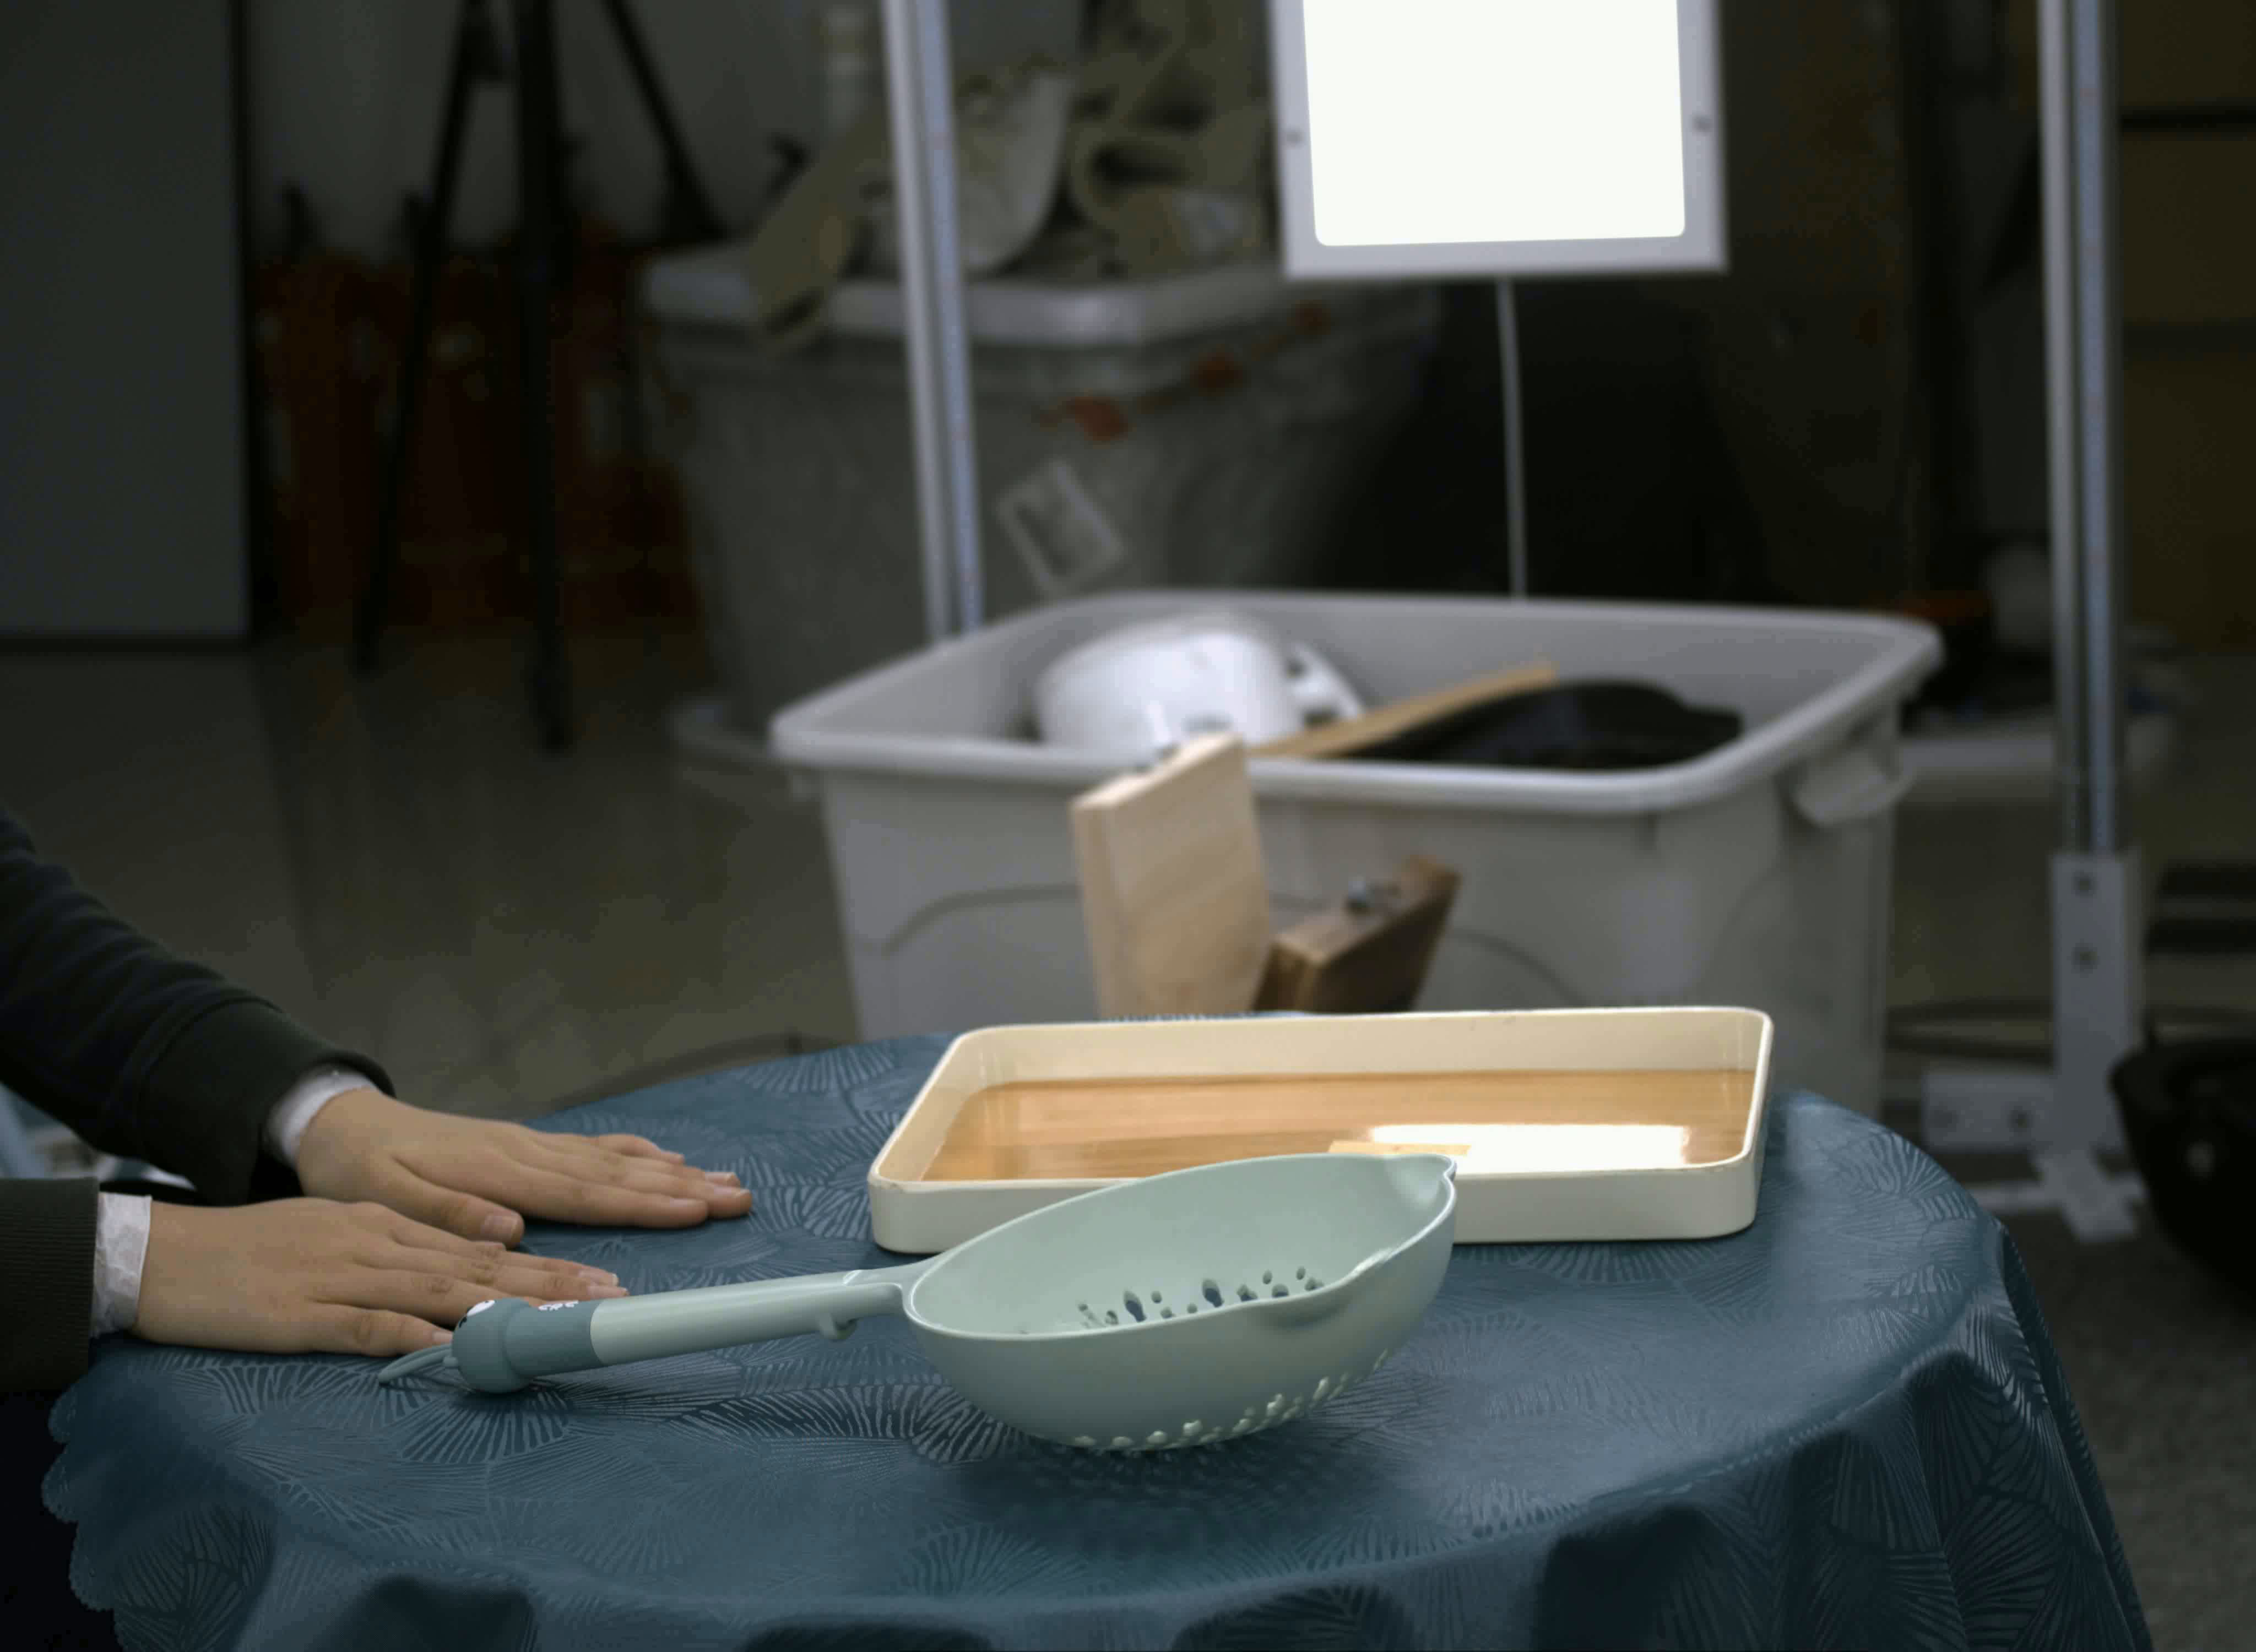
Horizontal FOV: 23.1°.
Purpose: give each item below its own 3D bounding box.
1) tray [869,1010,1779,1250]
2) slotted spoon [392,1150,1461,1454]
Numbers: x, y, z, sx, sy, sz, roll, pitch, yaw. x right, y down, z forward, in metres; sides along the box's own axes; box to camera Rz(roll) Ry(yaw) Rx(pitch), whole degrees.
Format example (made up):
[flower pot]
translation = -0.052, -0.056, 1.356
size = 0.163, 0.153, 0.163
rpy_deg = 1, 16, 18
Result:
[tray]
translation = 0.073, 0.105, 1.906
size = 0.302, 0.027, 0.189
rpy_deg = -2, 14, 12
[slotted spoon]
translation = -0.070, 0.148, 1.696
size = 0.364, 0.075, 0.166
rpy_deg = 1, 14, 22
